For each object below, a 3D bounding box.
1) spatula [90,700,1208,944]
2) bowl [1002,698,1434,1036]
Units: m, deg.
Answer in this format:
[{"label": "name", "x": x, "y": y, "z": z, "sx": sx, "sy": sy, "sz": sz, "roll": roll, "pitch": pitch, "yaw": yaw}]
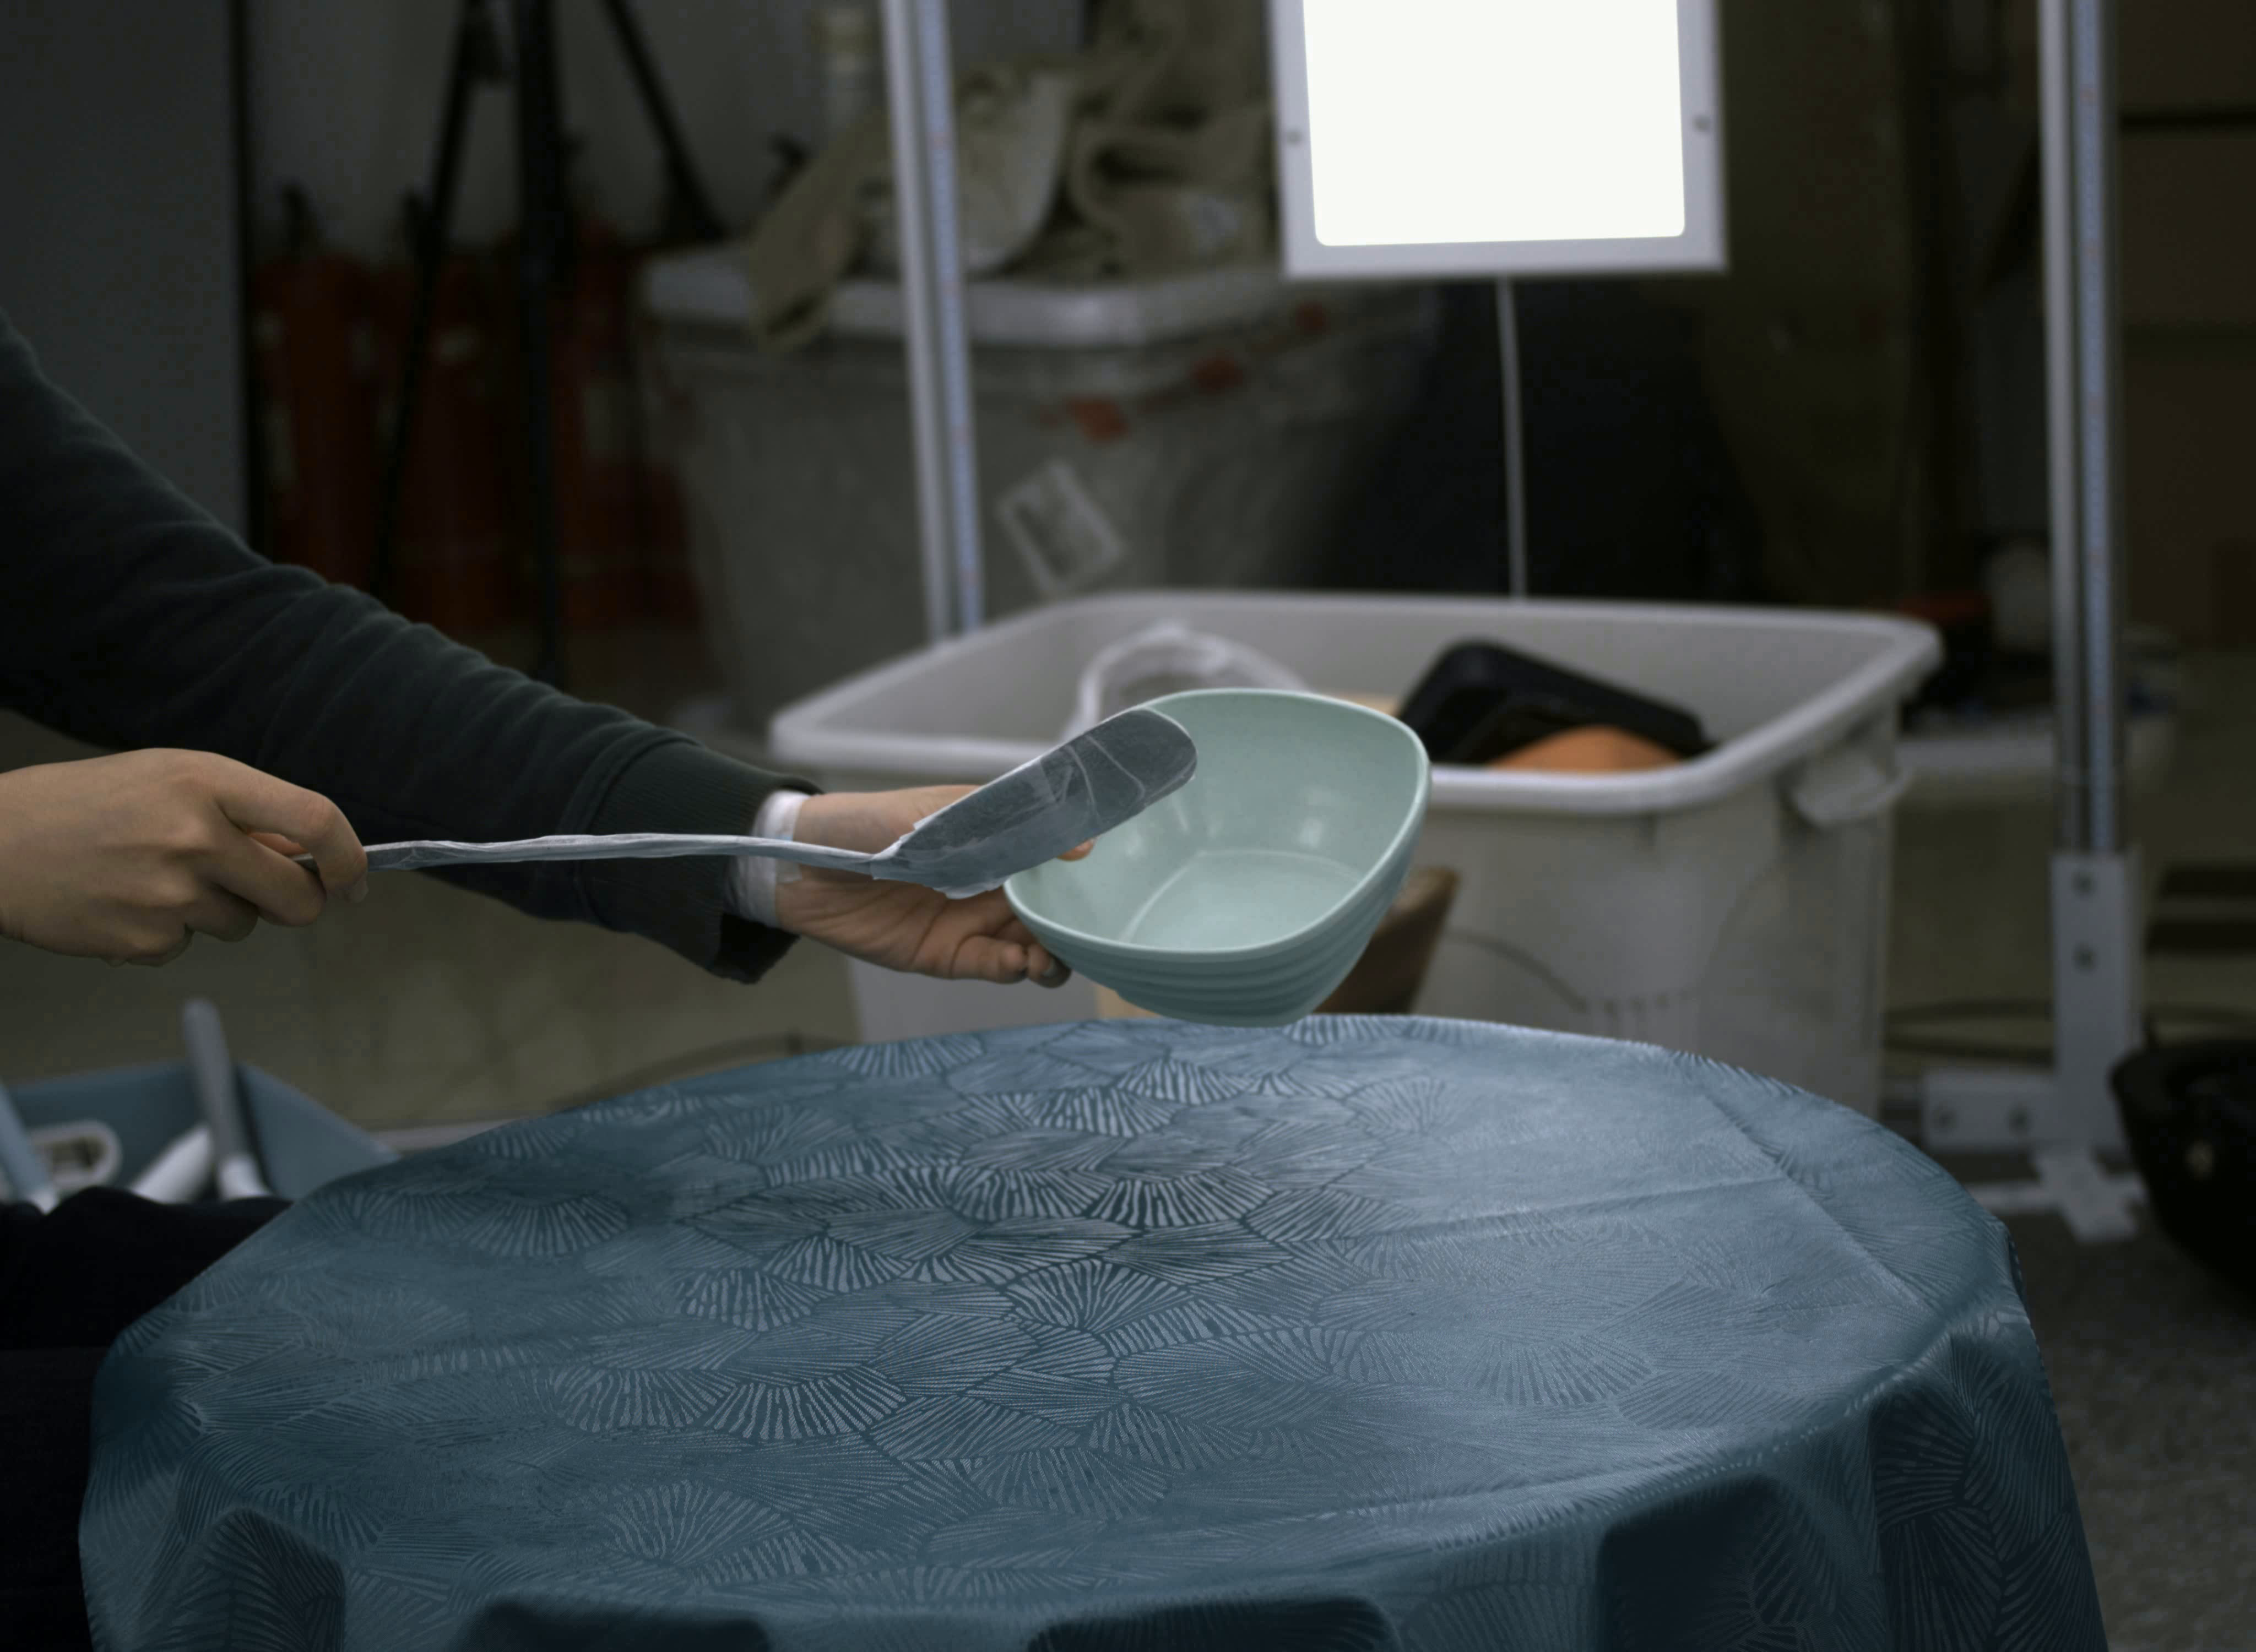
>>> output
[{"label": "spatula", "x": -0.156, "y": 0.003, "z": 1.739, "sx": 0.367, "sy": 0.045, "sz": 0.098, "roll": -4, "pitch": -14, "yaw": 10}, {"label": "bowl", "x": 0.035, "y": 0.021, "z": 1.866, "sx": 0.152, "sy": 0.058, "sz": 0.151, "roll": -10, "pitch": 36, "yaw": 6}]
